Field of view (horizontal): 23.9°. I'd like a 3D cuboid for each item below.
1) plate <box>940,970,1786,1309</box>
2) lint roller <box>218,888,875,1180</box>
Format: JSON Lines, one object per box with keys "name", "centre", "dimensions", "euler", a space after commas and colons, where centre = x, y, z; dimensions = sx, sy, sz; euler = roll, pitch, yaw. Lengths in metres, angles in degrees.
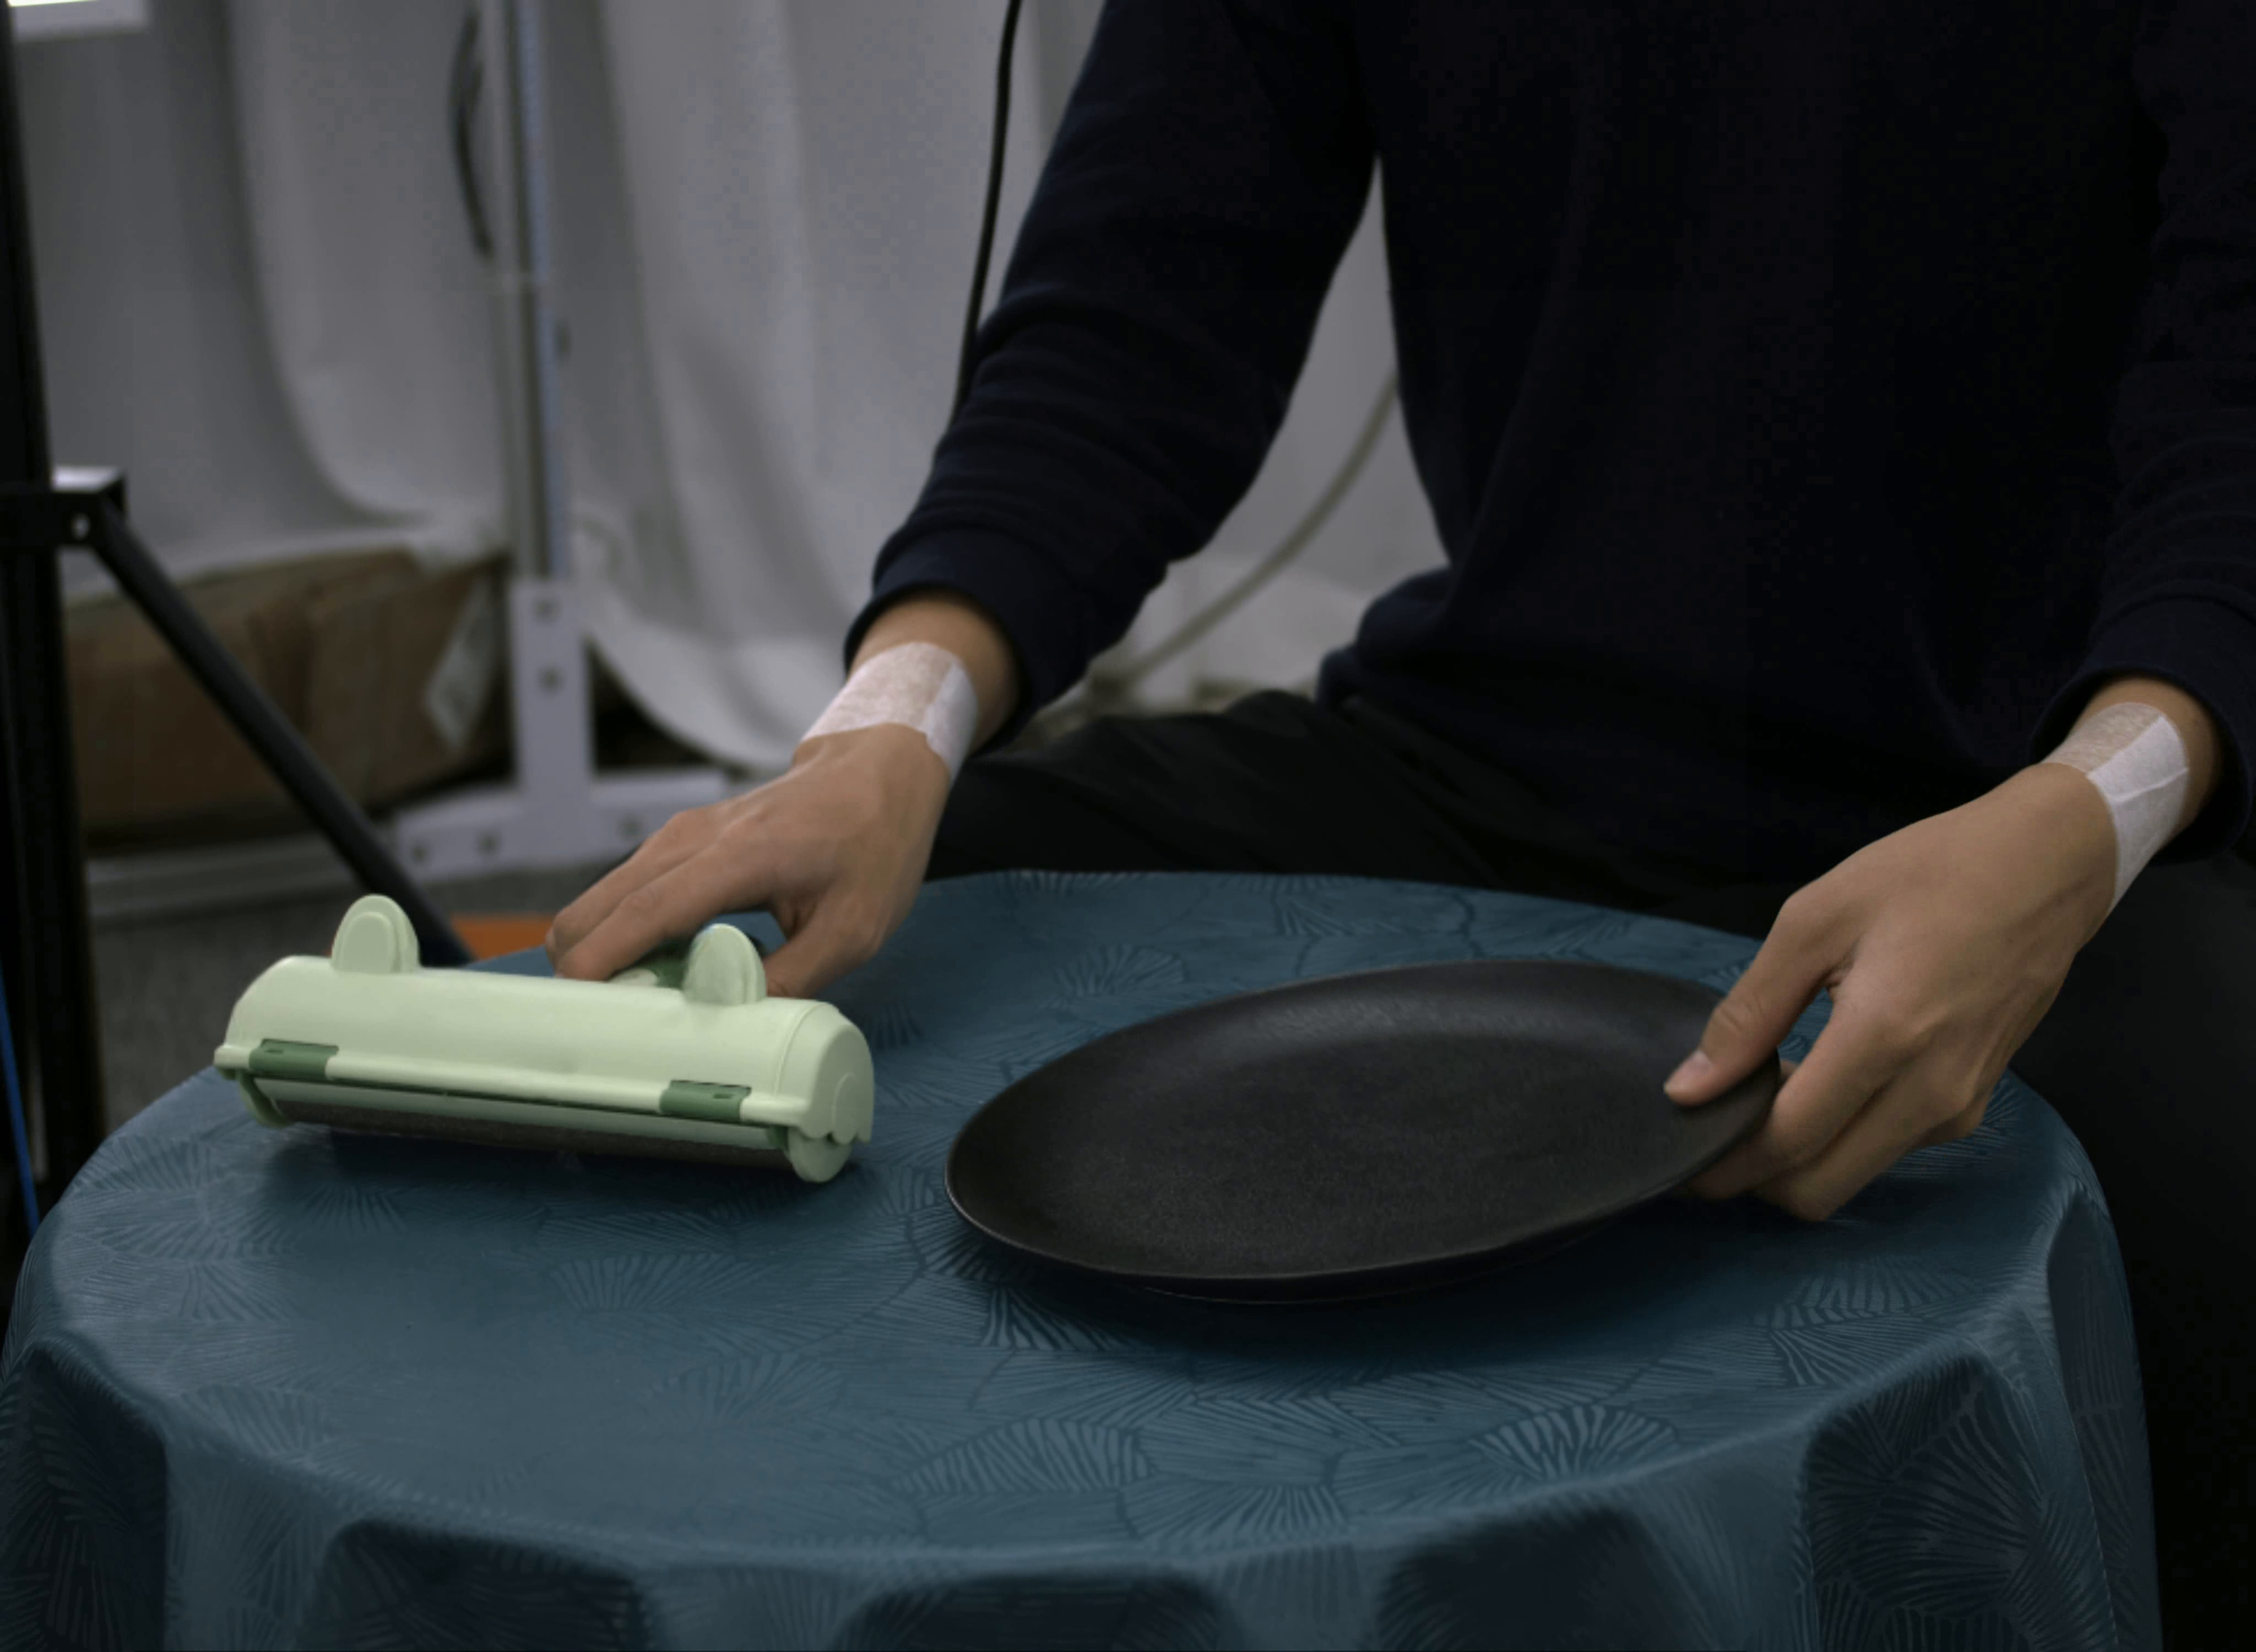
{"name": "plate", "centre": [0.068, 0.093, 1.523], "dimensions": [0.243, 0.023, 0.246], "euler": [-8, 17, 1]}
{"name": "lint roller", "centre": [-0.156, 0.043, 1.650], "dimensions": [0.201, 0.082, 0.181], "euler": [4, 25, 22]}
